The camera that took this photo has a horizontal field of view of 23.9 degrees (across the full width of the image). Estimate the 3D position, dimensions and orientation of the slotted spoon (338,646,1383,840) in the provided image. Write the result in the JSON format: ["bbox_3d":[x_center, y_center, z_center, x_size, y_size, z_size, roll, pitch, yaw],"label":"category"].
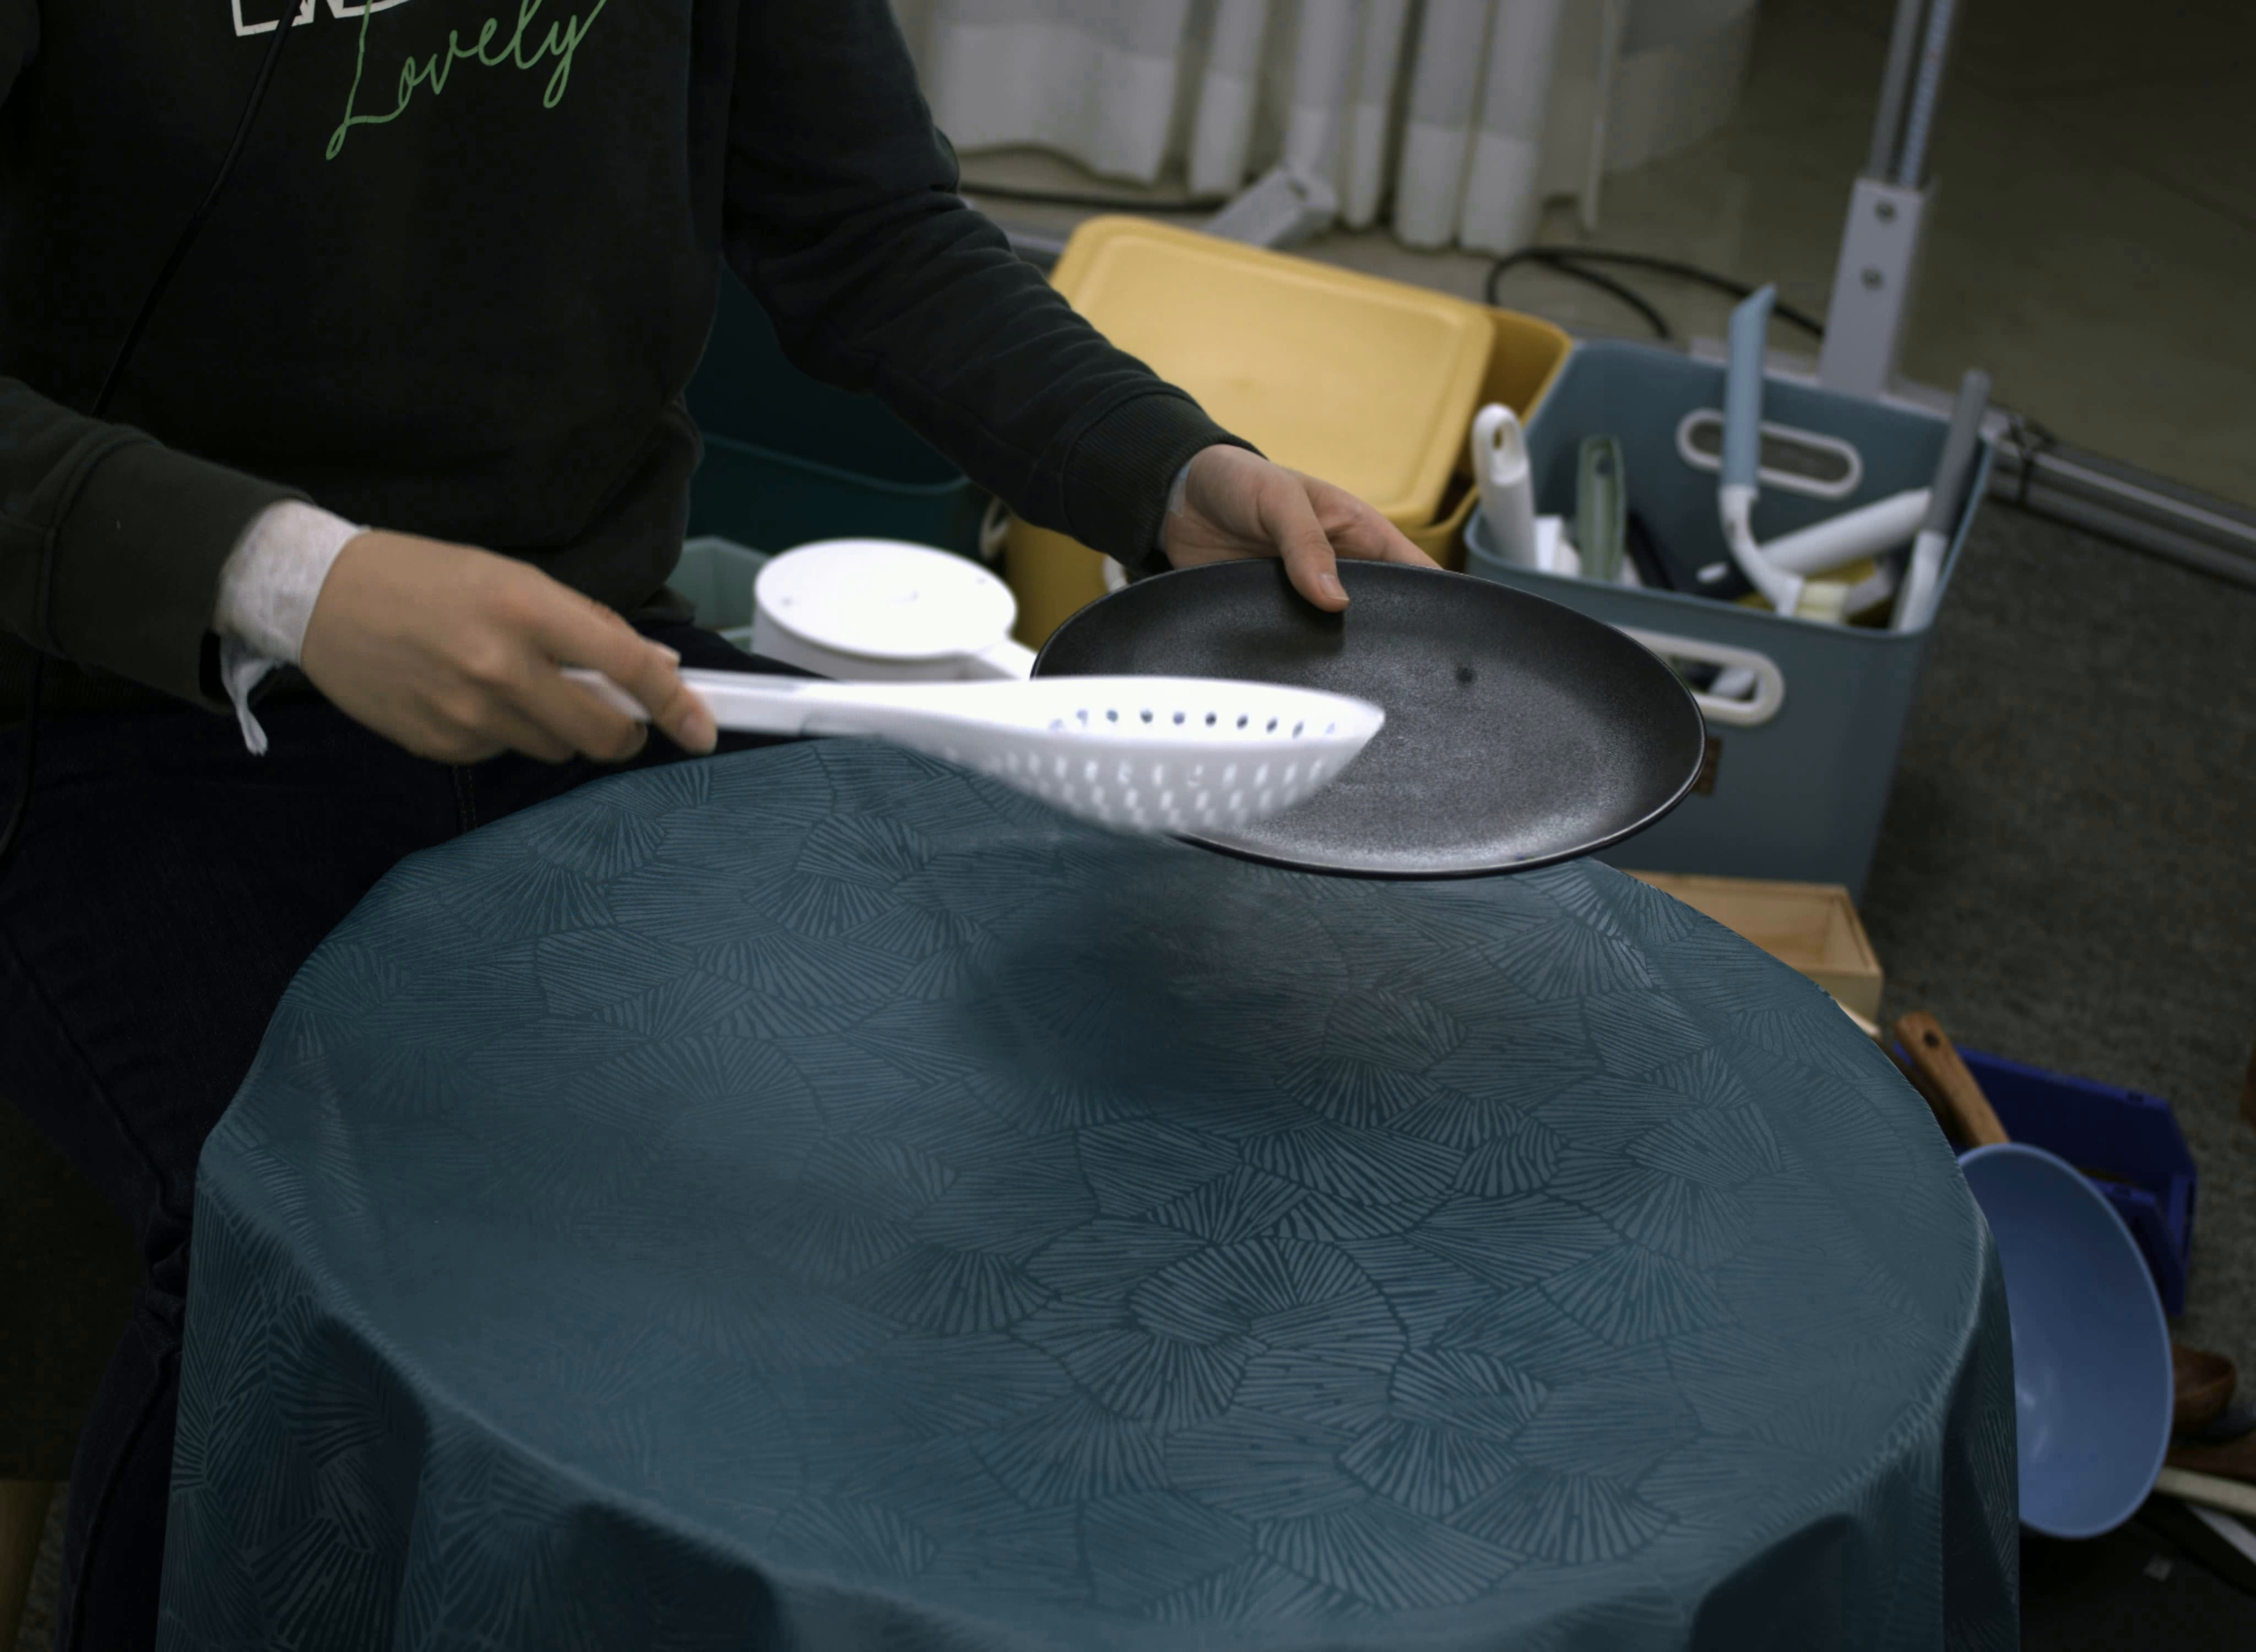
[{"bbox_3d":[-0.091,-0.037,1.720,0.350,0.046,0.136,10,11,14],"label":"slotted spoon"}]

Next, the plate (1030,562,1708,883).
[{"bbox_3d":[0.085,-0.033,1.904,0.243,0.023,0.246,3,28,-2],"label":"plate"}]
